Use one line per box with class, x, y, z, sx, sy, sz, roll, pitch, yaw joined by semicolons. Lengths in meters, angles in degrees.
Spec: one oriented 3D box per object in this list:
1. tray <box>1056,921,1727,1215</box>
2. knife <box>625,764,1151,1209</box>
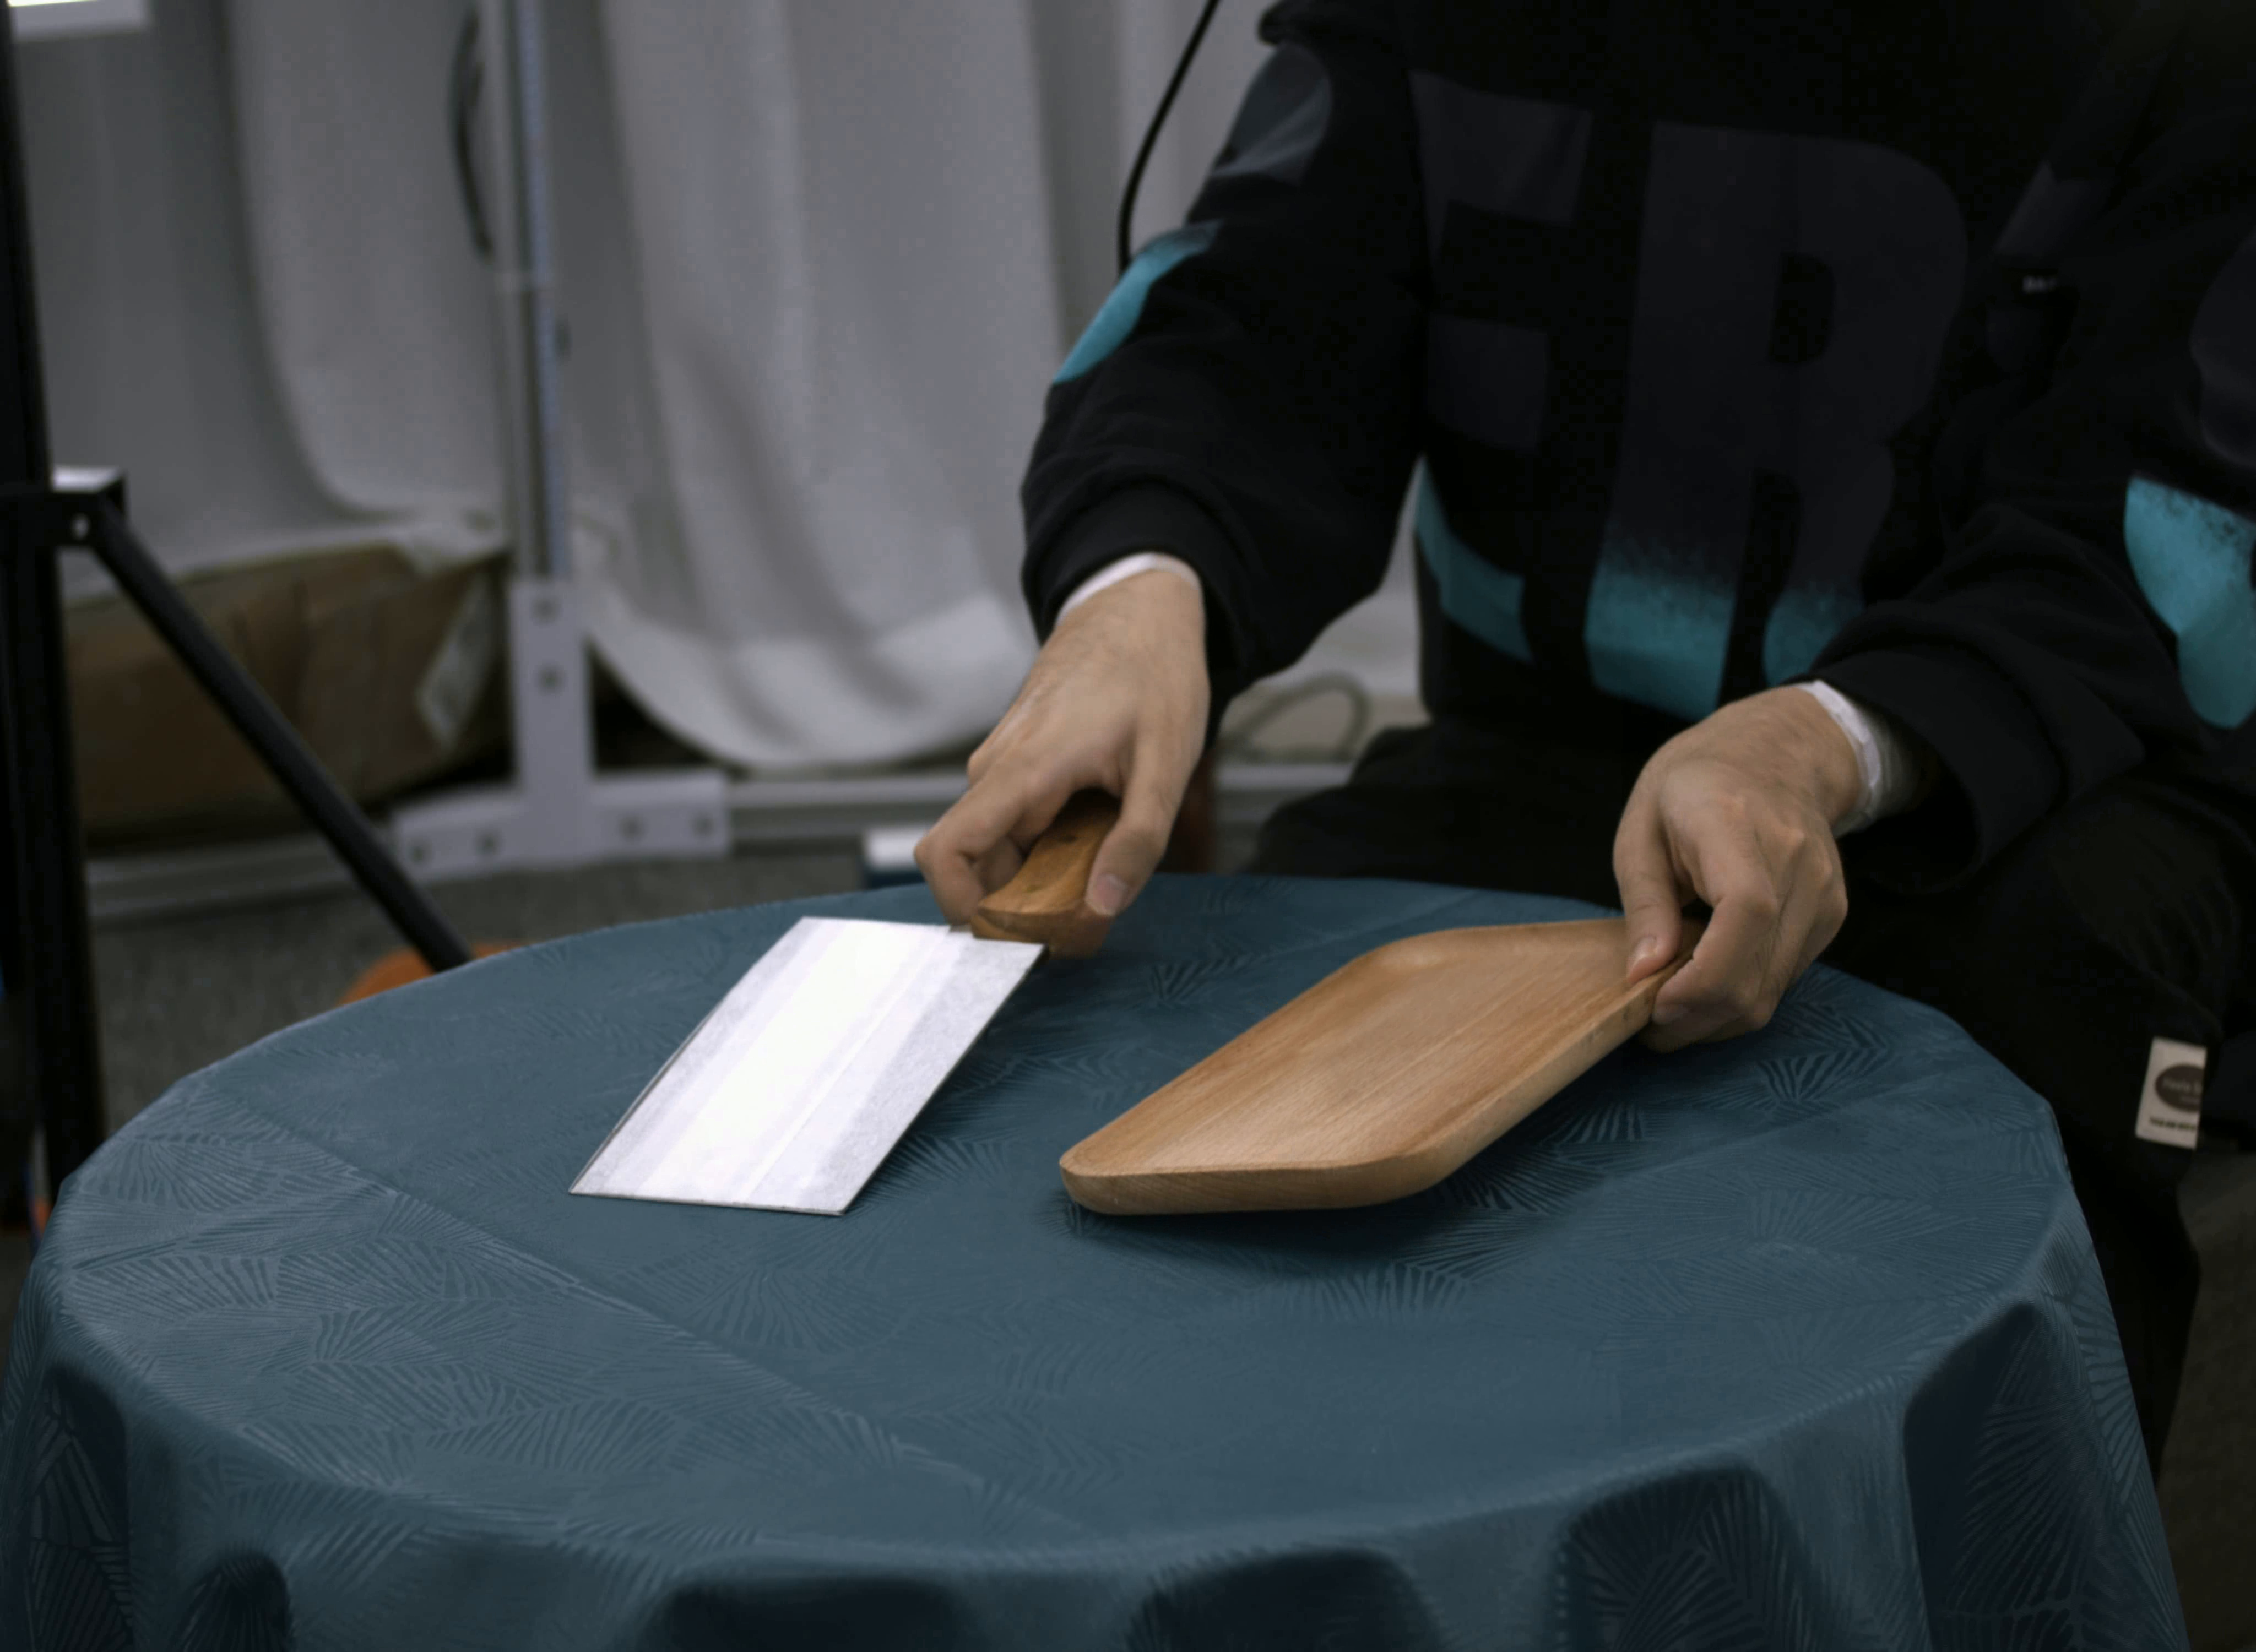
tray;0.084;0.072;1.606;0.133;0.023;0.246;-2;13;32
knife;-0.075;0.048;1.693;0.094;0.021;0.303;3;26;20
